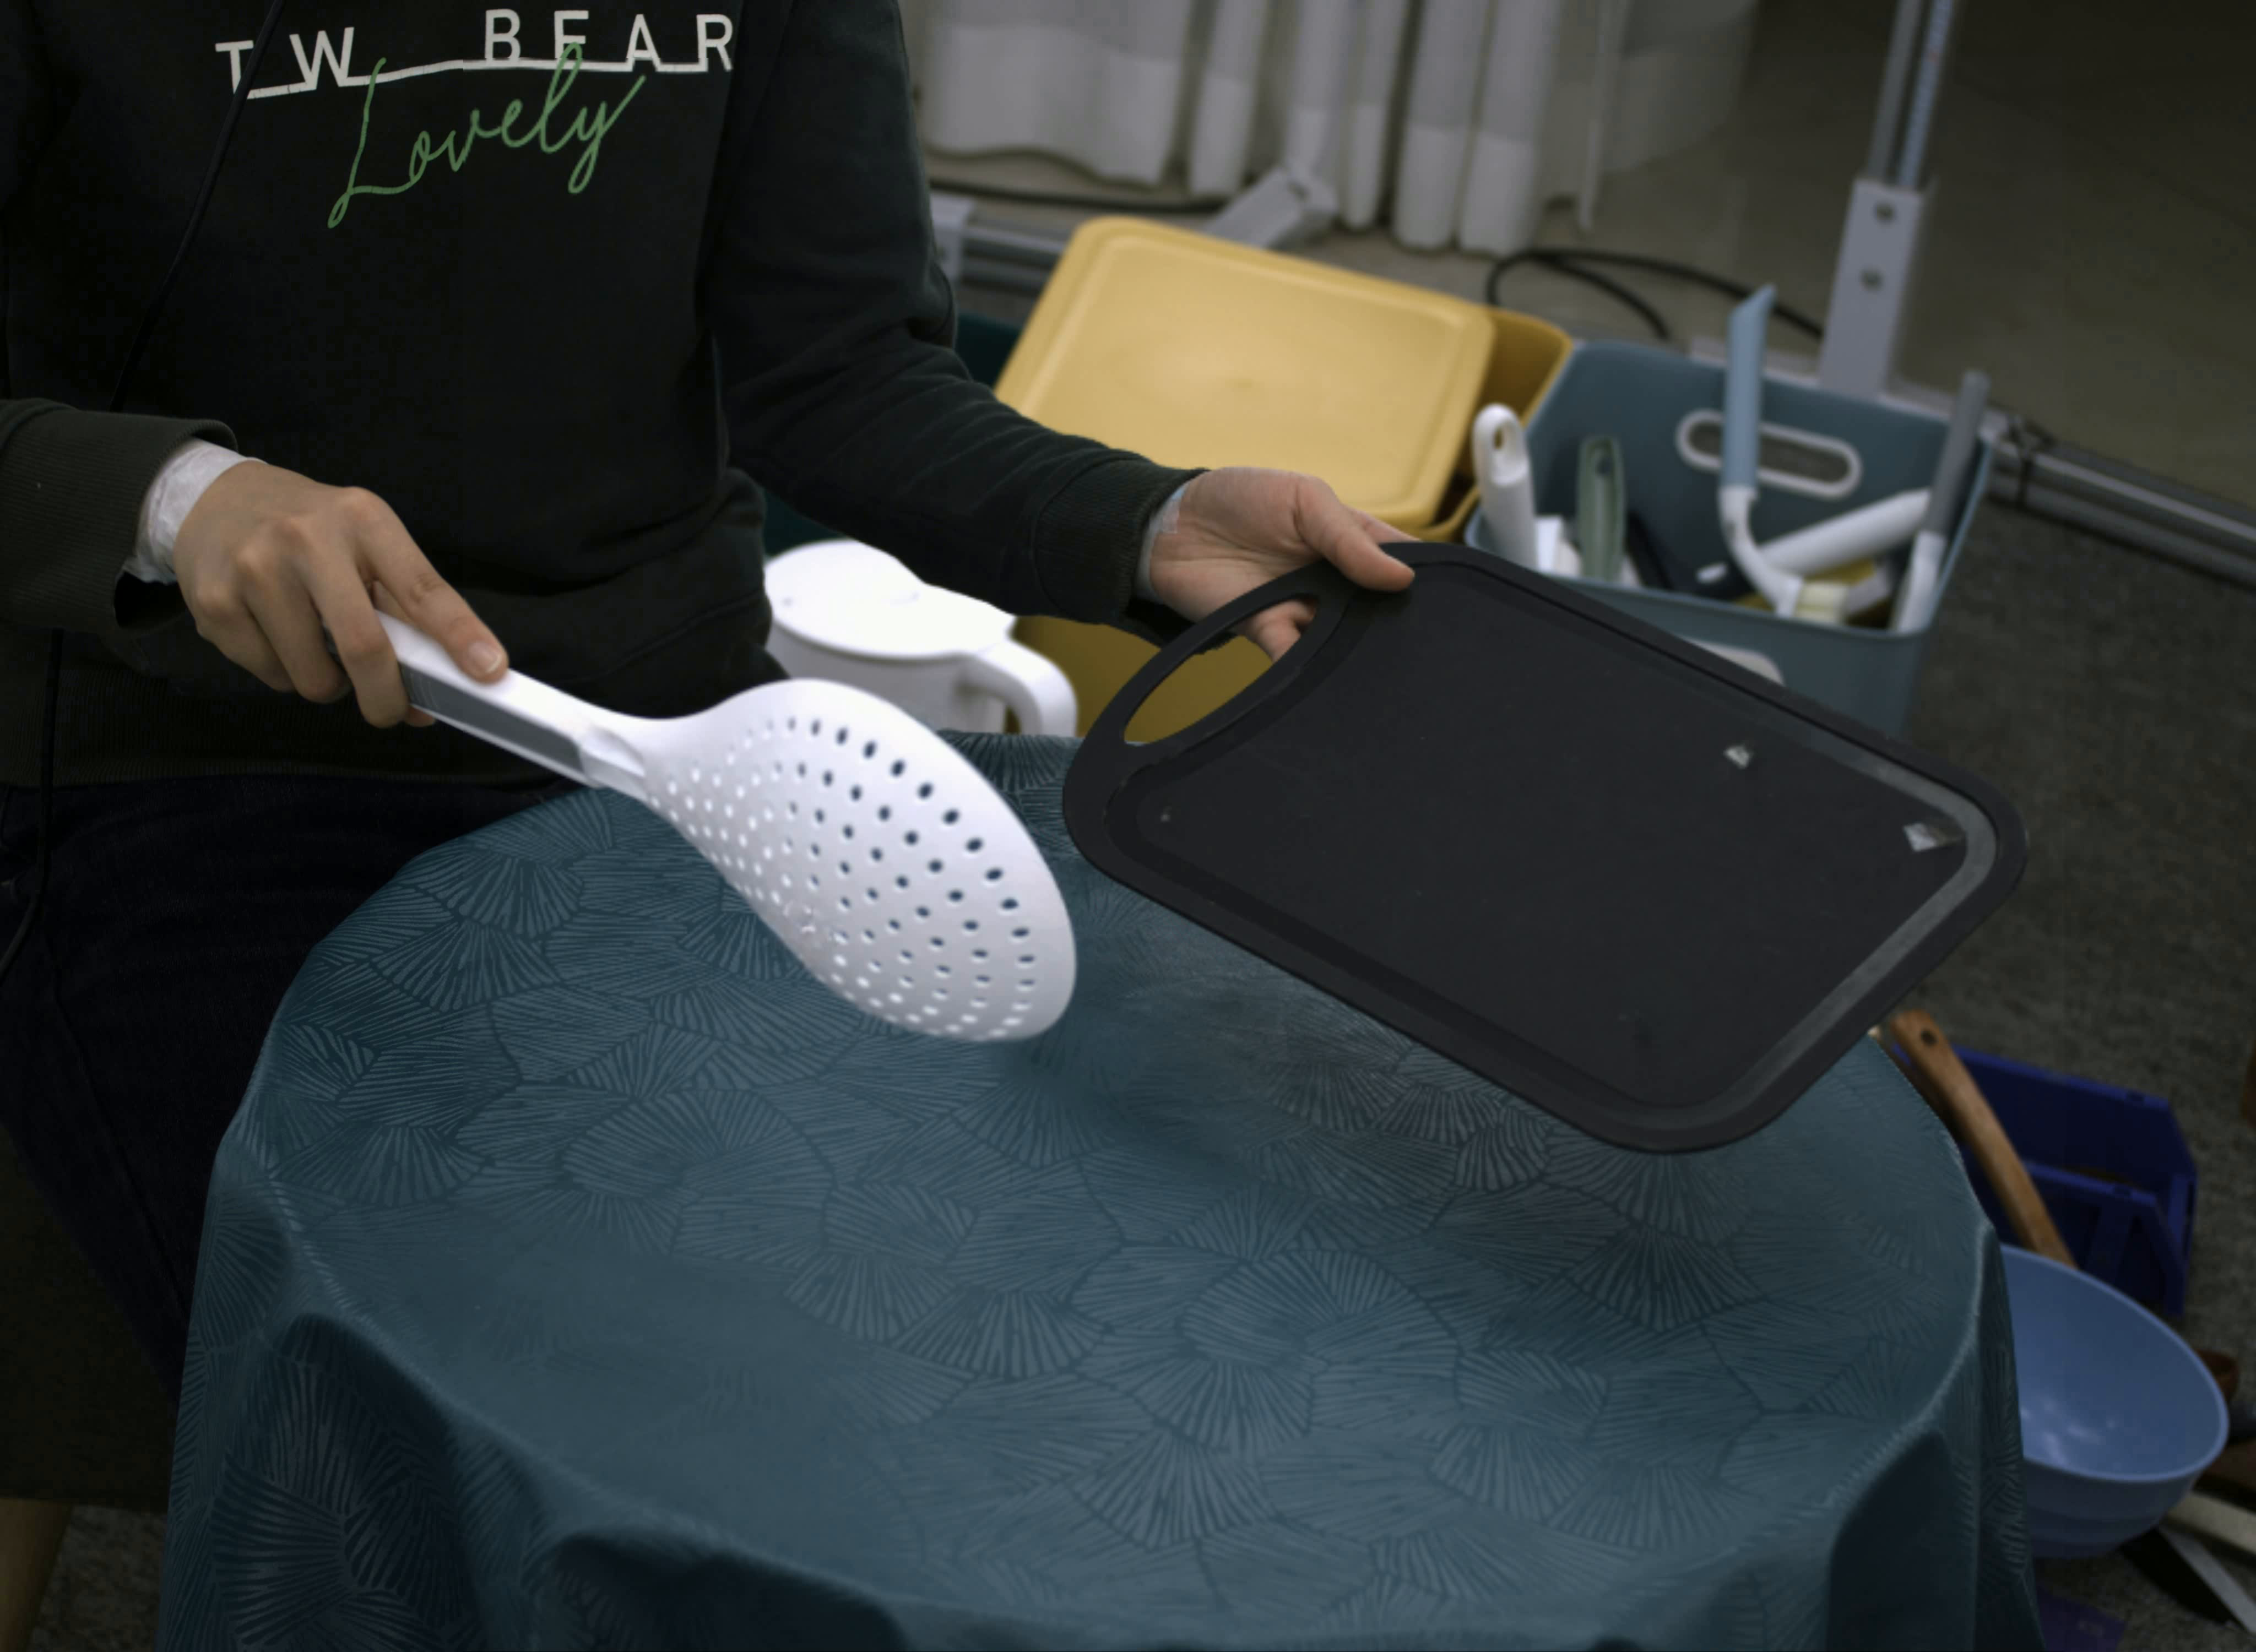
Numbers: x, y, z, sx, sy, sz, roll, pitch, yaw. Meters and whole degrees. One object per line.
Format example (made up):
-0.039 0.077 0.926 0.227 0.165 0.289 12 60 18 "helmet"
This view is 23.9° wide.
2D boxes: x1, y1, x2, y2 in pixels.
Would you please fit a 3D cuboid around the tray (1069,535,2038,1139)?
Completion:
0.135 -0.006 1.831 0.328 0.010 0.211 27 54 35 "tray"

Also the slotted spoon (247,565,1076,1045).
-0.157 -0.022 1.690 0.352 0.135 0.045 26 47 37 "slotted spoon"
